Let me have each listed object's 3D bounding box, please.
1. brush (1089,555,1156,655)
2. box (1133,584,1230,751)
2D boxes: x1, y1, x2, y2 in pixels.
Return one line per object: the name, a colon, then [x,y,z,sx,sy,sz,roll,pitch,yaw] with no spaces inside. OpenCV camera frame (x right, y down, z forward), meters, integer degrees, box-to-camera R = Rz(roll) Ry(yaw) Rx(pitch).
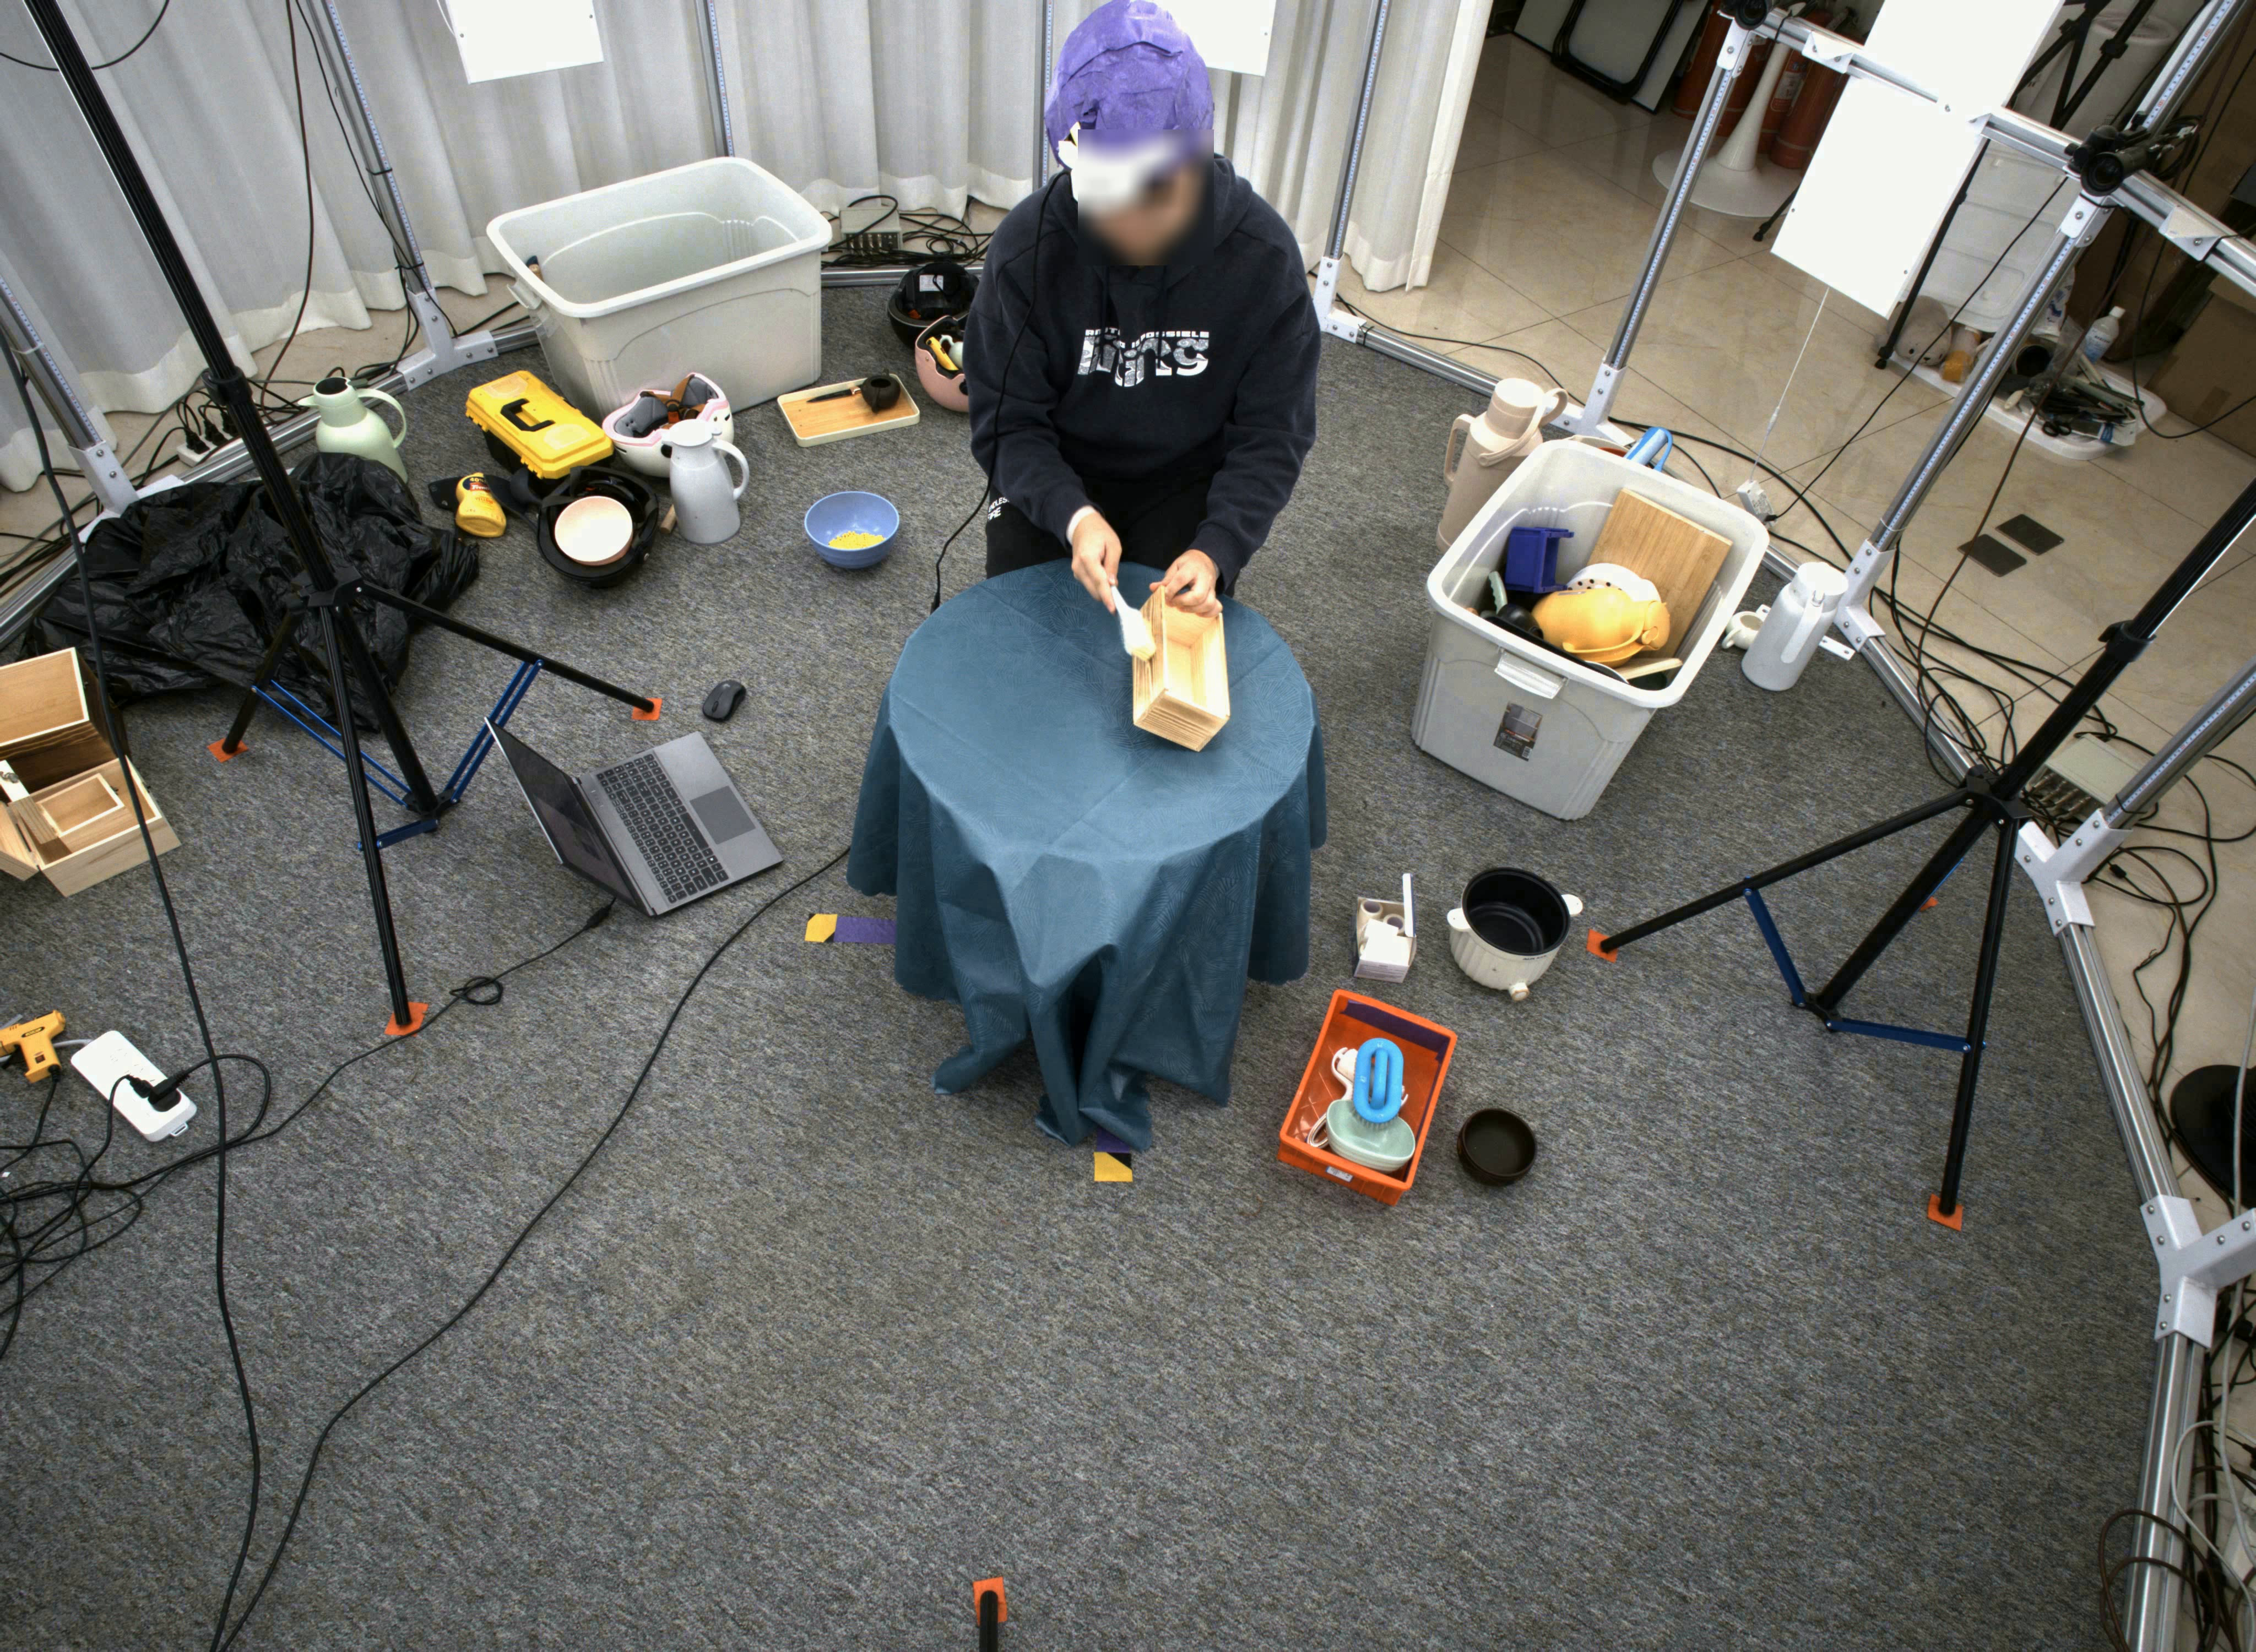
brush: [-0.010,-0.315,1.818,0.049,0.037,0.234,17,32,-36]
box: [0.071,-0.222,1.787,0.106,0.079,0.217,21,45,-23]
